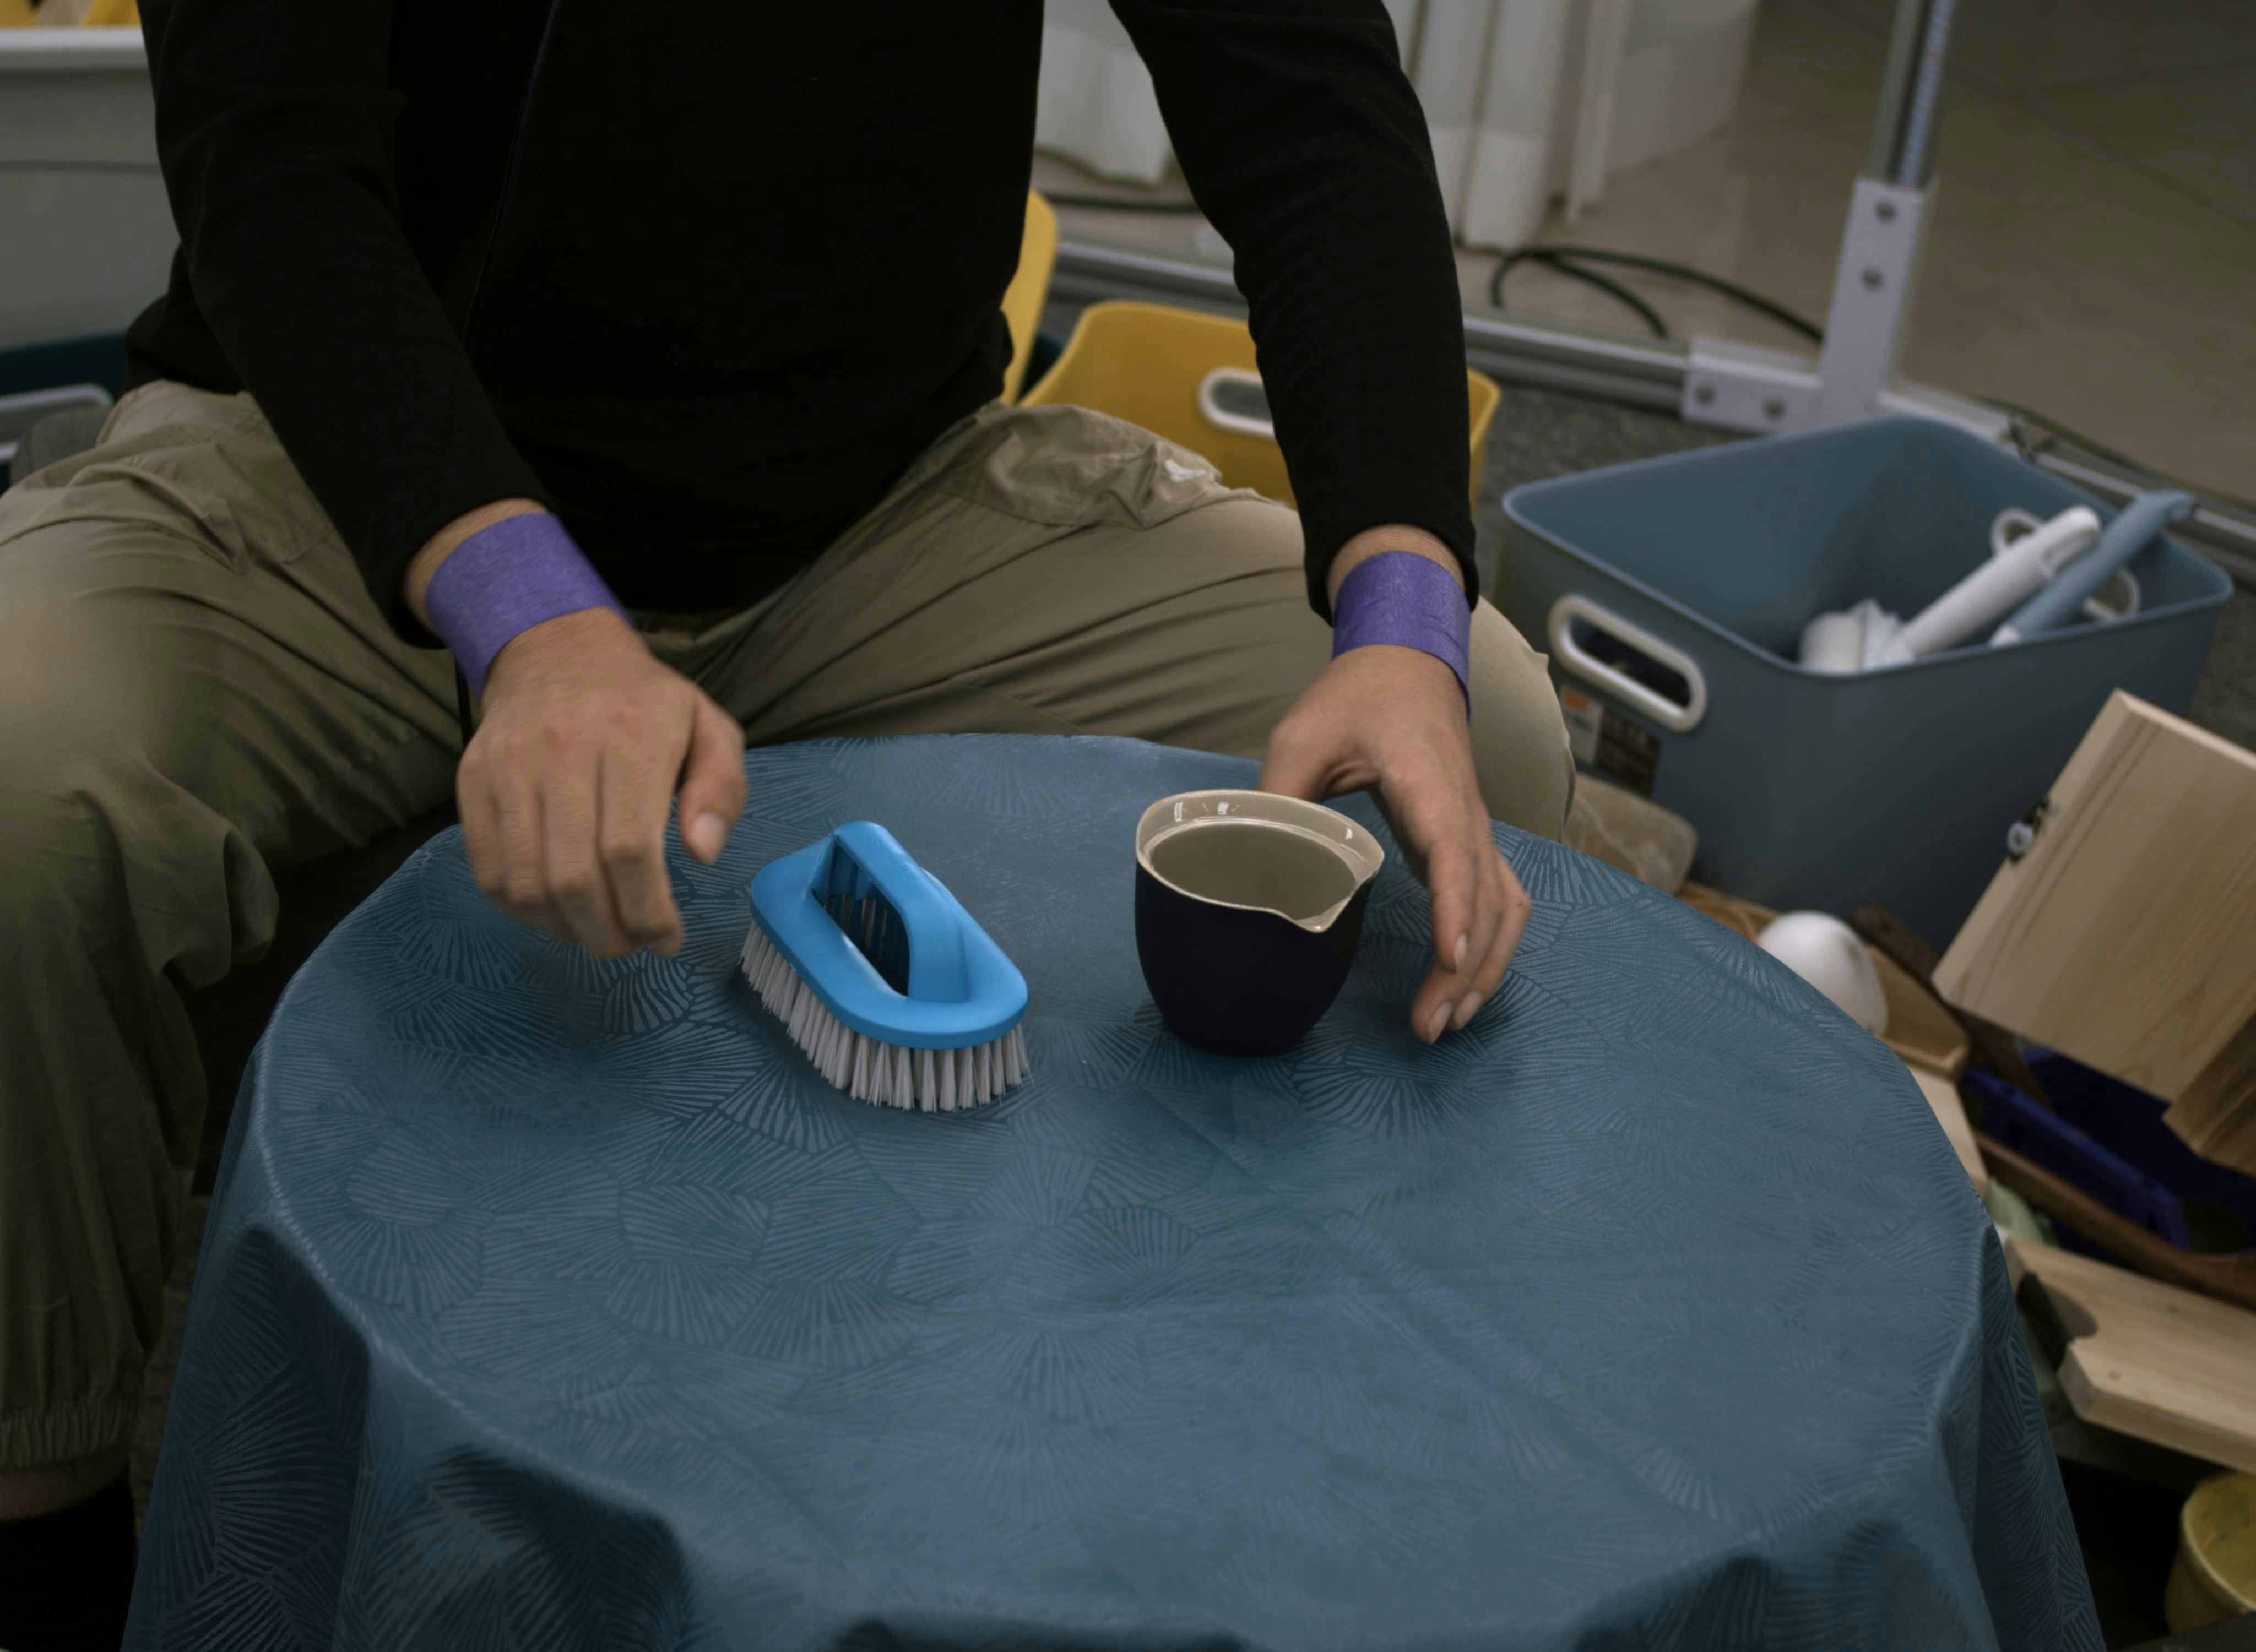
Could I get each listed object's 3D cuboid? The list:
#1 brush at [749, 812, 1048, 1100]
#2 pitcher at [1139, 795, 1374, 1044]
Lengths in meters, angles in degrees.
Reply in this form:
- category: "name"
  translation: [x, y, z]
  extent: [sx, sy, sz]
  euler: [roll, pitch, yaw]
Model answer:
- category: "brush"
  translation: [-0.083, 0.037, 1.879]
  extent: [0.084, 0.063, 0.143]
  euler: [-11, 30, -22]
- category: "pitcher"
  translation: [0.045, 0.038, 1.897]
  extent: [0.083, 0.071, 0.097]
  euler: [-1, 29, -18]
